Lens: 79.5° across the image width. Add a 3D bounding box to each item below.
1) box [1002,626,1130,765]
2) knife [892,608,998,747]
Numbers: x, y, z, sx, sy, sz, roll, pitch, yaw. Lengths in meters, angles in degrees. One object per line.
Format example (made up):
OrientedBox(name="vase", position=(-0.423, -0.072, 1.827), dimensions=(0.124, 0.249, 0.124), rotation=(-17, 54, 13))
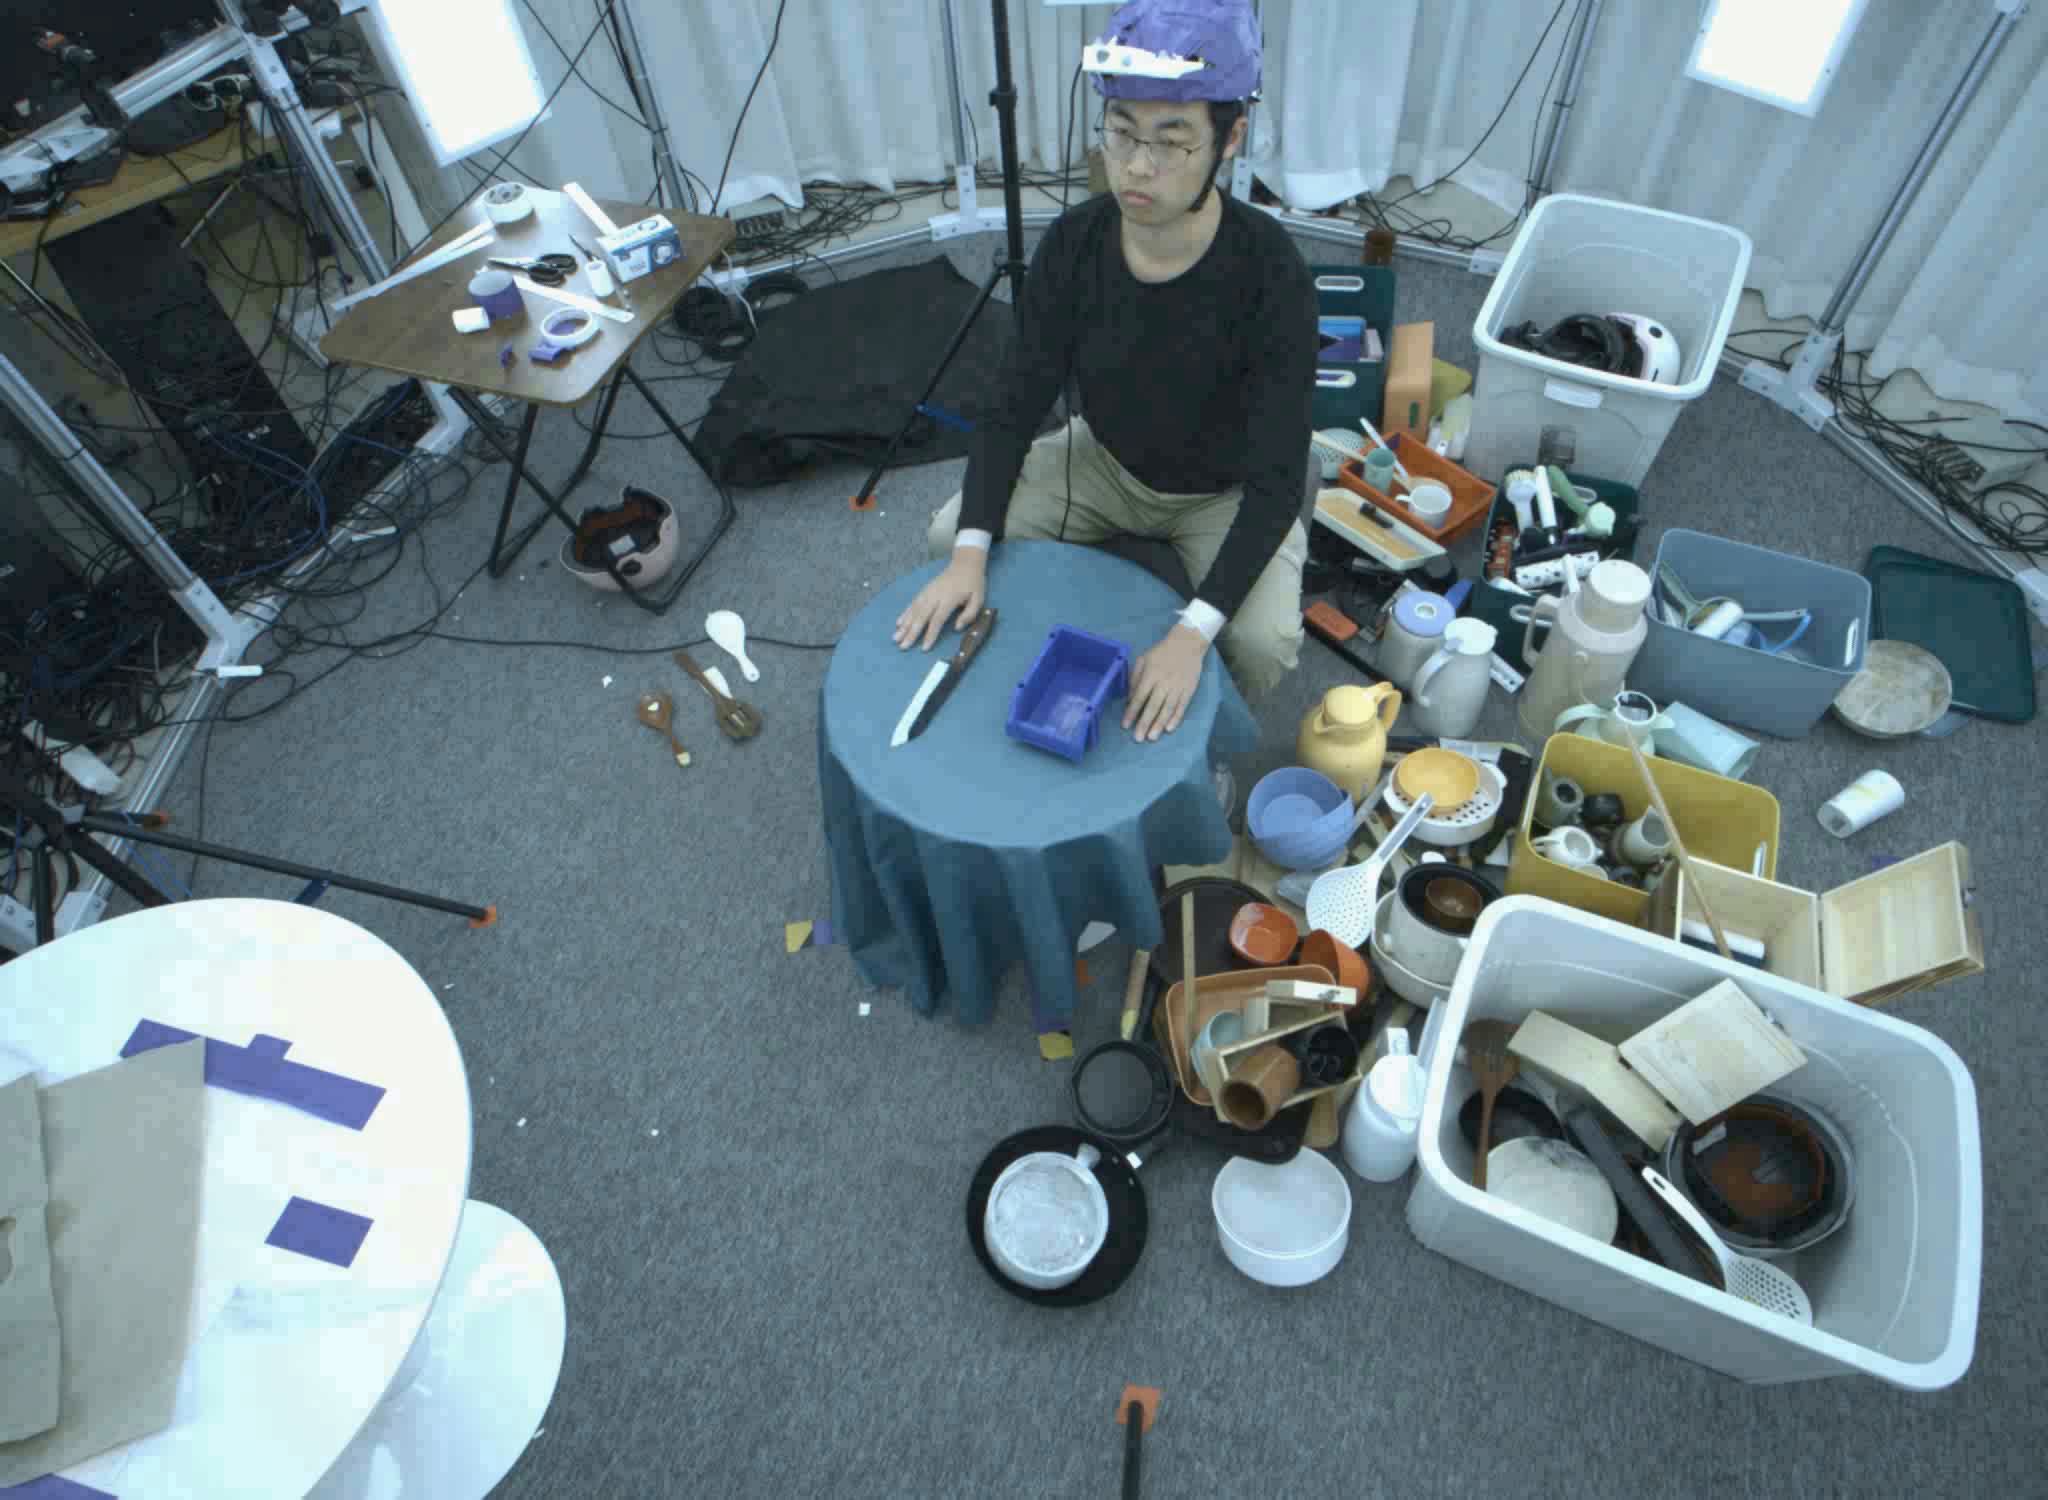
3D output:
OrientedBox(name="box", position=(0.063, -0.075, 1.788), dimensions=(0.123, 0.083, 0.180), rotation=(22, 56, 17))
OrientedBox(name="knife", position=(-0.119, -0.112, 1.862), dimensions=(0.049, 0.020, 0.289), rotation=(21, 61, 22))
